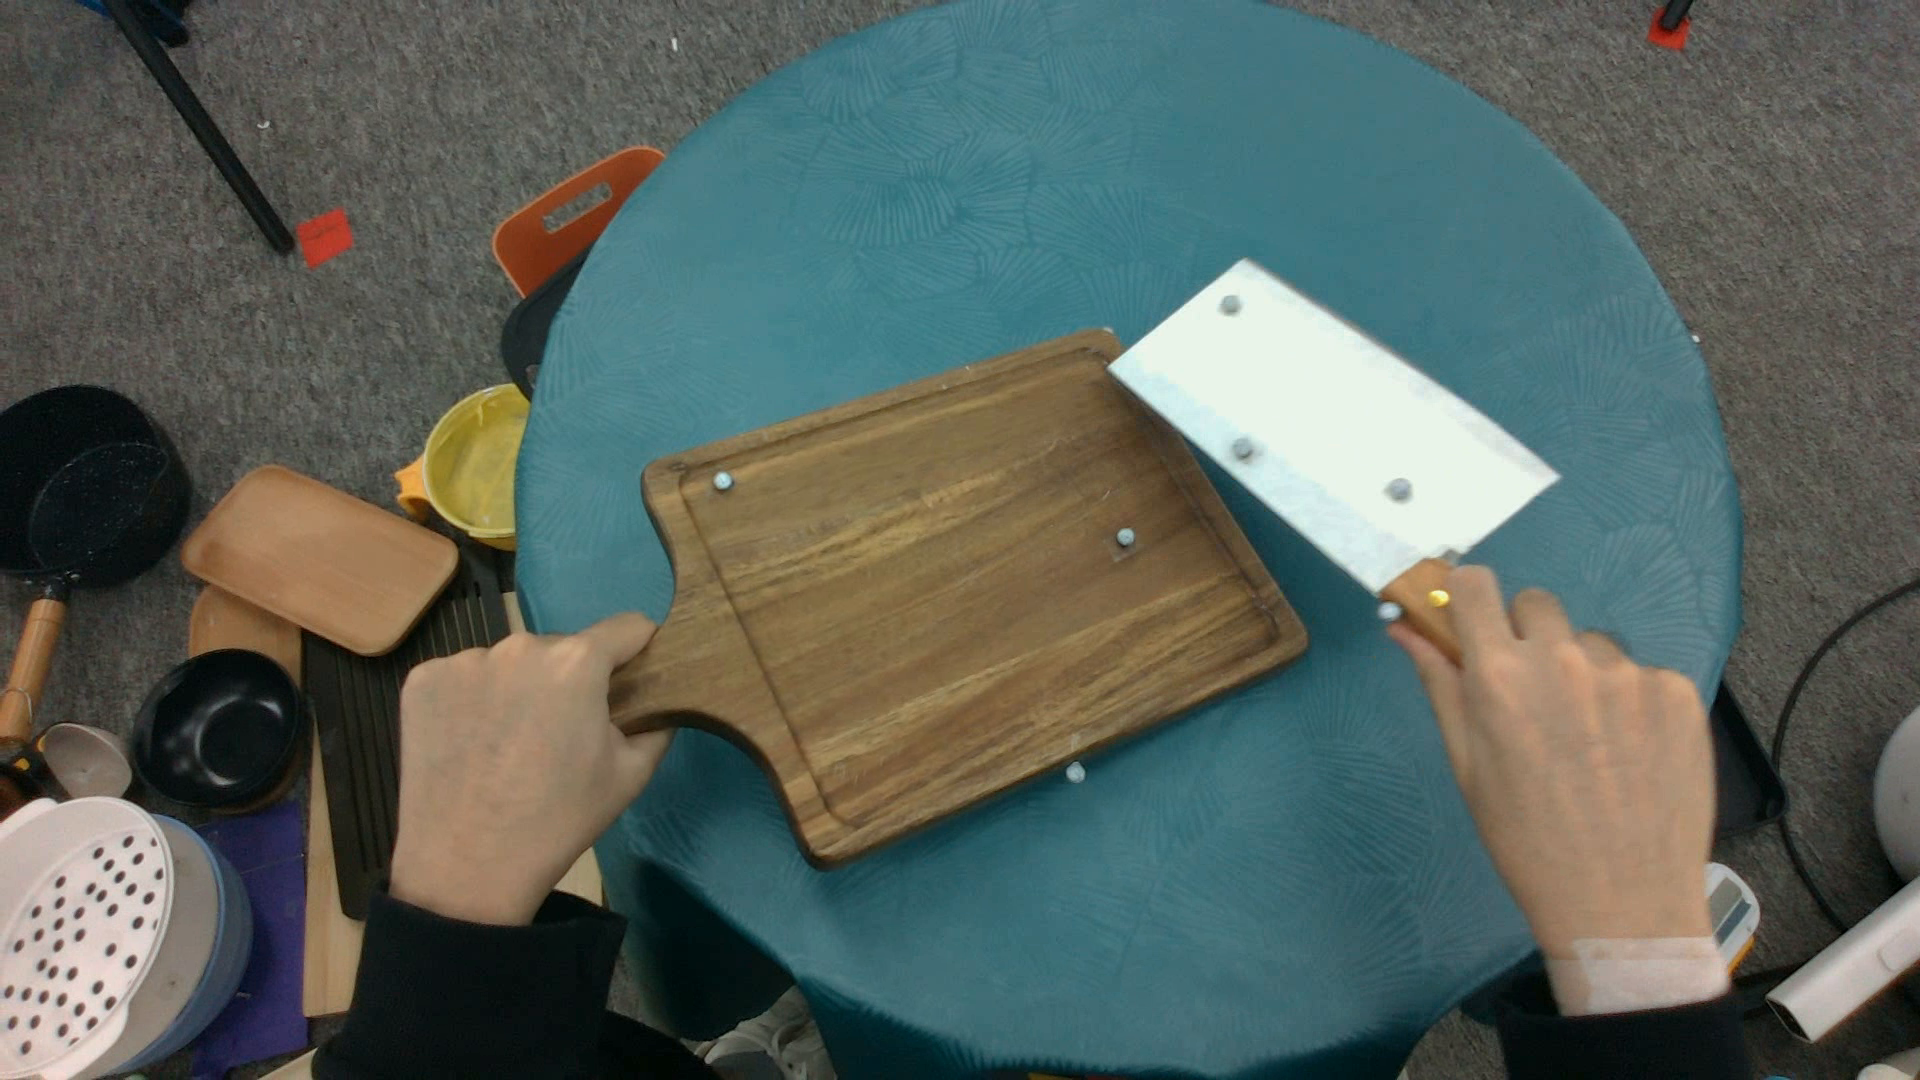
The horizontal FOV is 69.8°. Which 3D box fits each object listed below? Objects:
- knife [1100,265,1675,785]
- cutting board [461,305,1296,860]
[{"bbox_3d":[0.181,-0.028,0.578,0.093,0.021,0.306,-38,54,-6],"label":"knife"},{"bbox_3d":[-0.040,0.020,0.599,0.353,0.023,0.201,-21,68,-23],"label":"cutting board"}]
